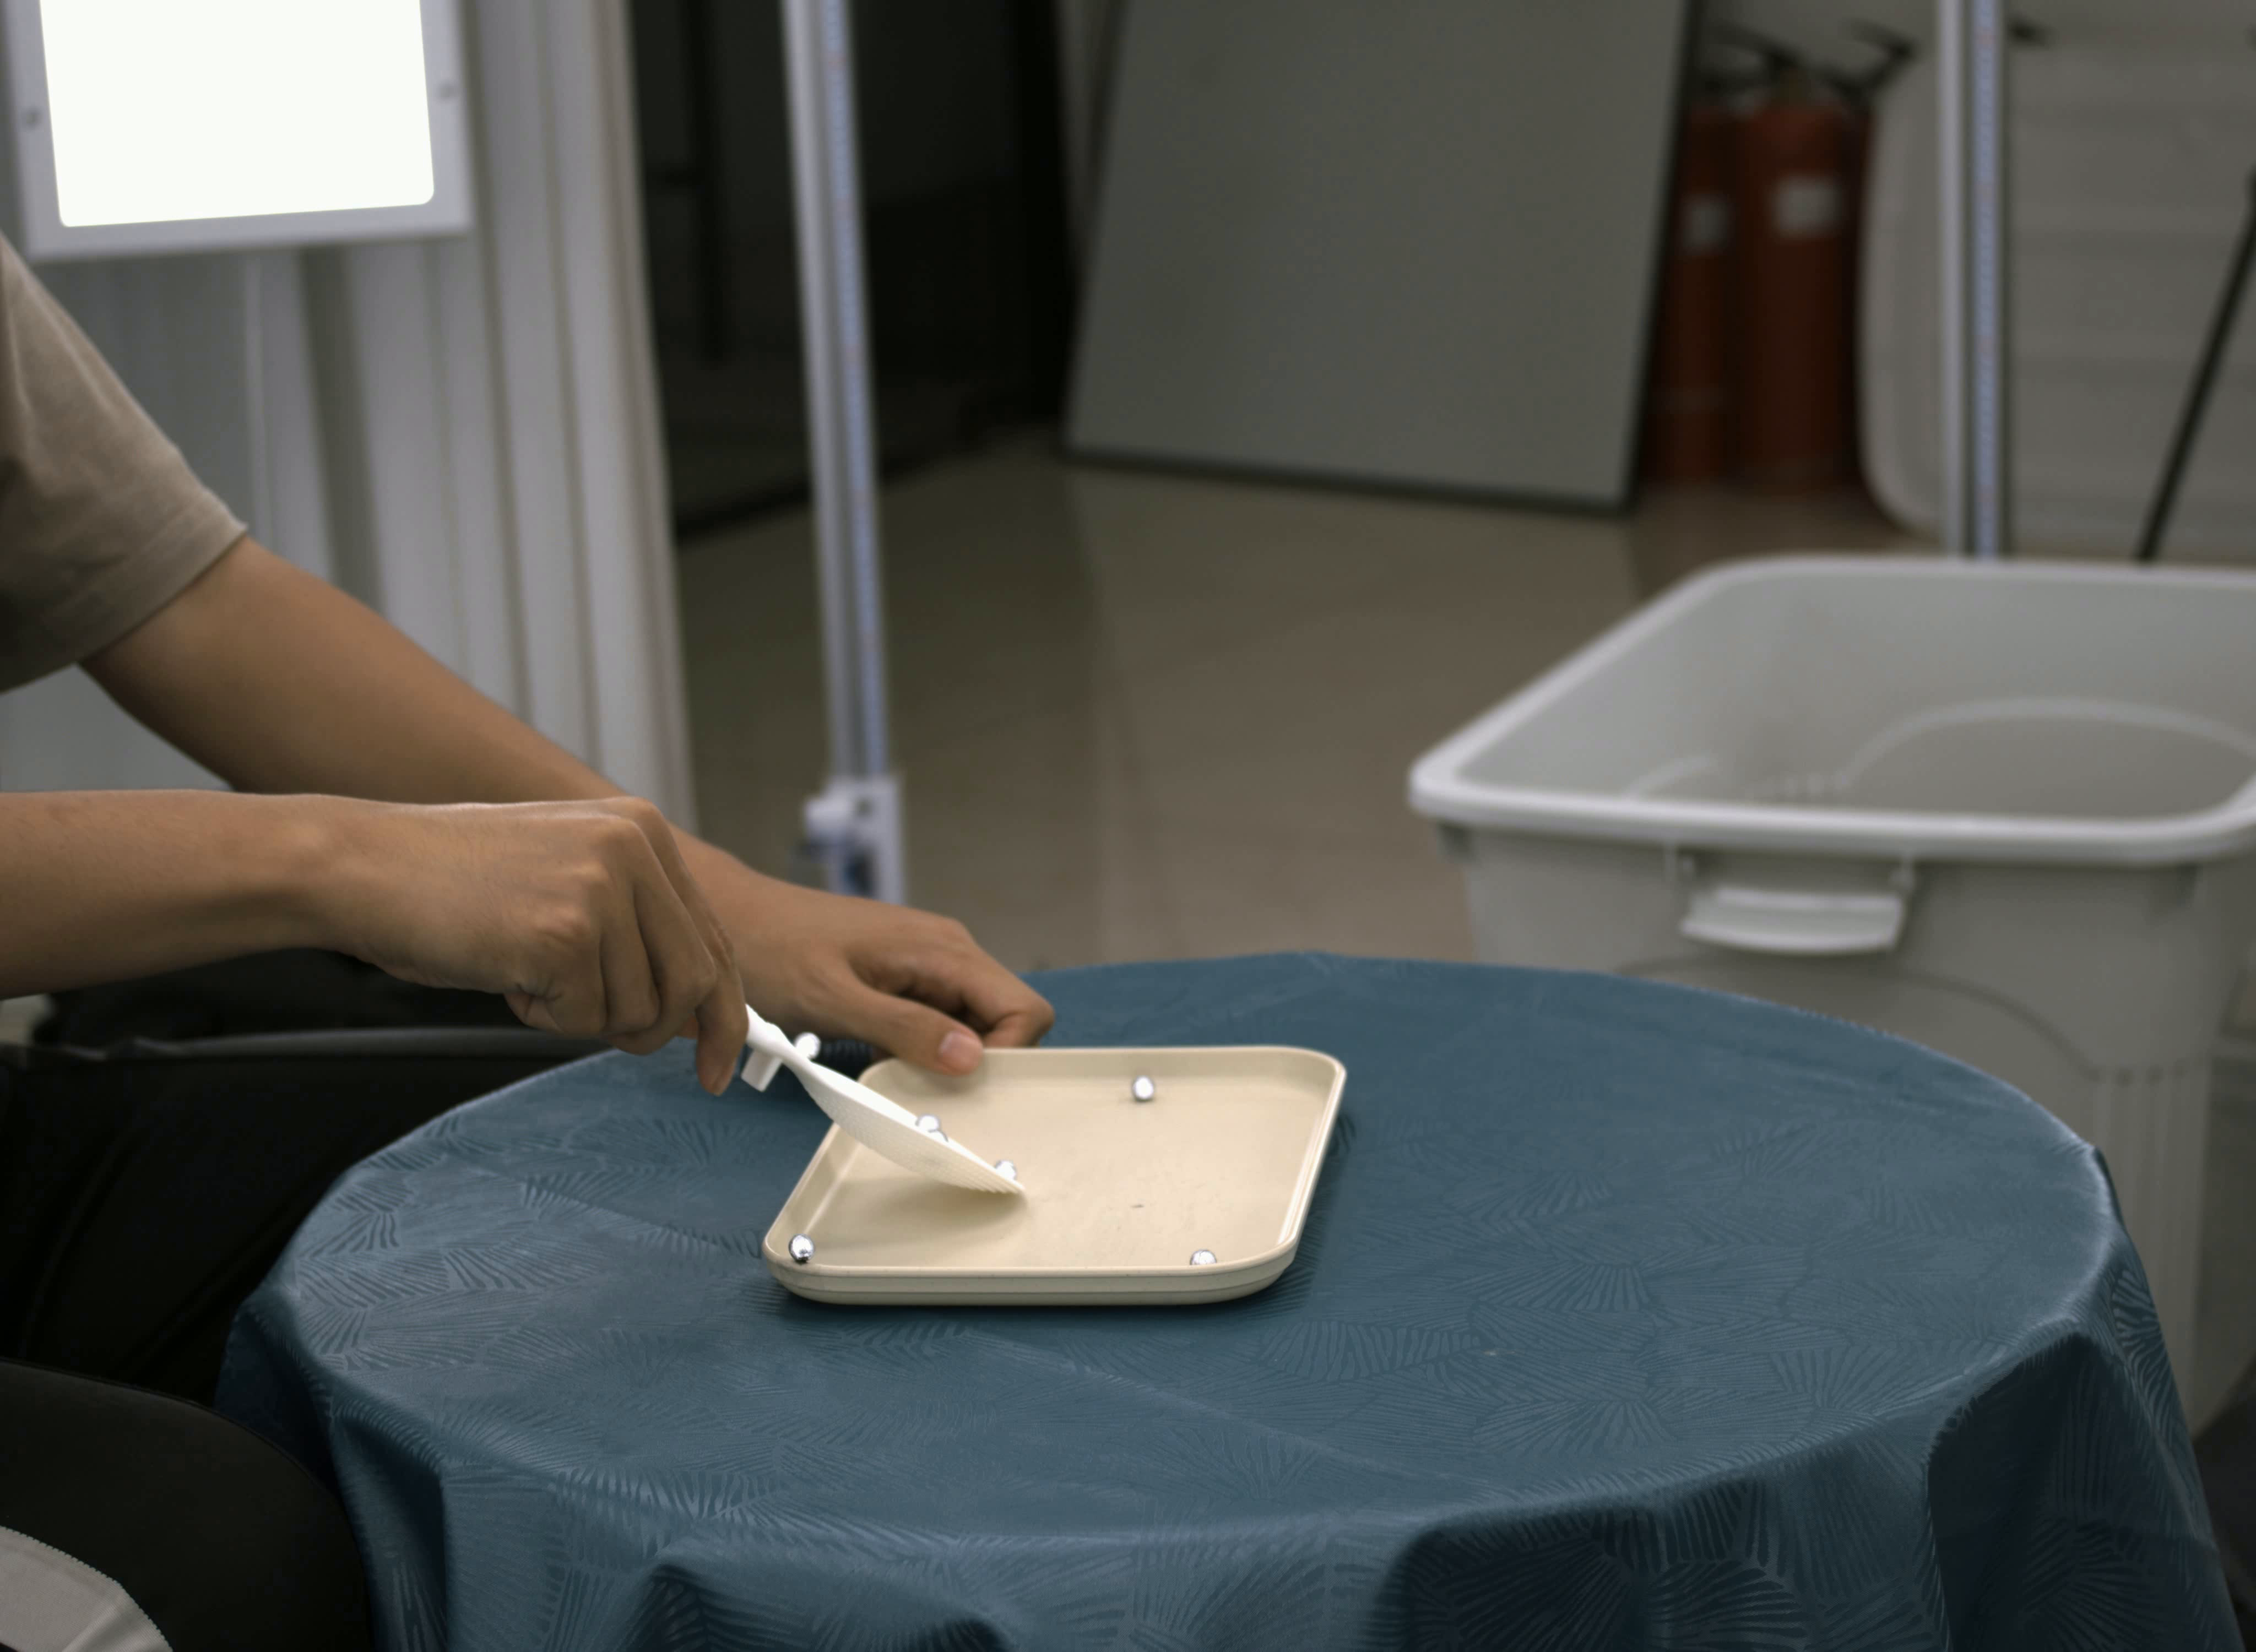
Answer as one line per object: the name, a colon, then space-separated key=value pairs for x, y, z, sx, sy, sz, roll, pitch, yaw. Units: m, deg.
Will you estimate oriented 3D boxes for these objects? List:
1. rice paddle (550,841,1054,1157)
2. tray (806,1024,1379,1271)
rice paddle: x=-0.098 y=0.060 z=1.728 sx=0.201 sy=0.029 sz=0.069 roll=31 pitch=-2 yaw=-35
tray: x=-0.007 y=0.105 z=1.778 sx=0.170 sy=0.017 sz=0.239 roll=-1 pitch=13 yaw=9
